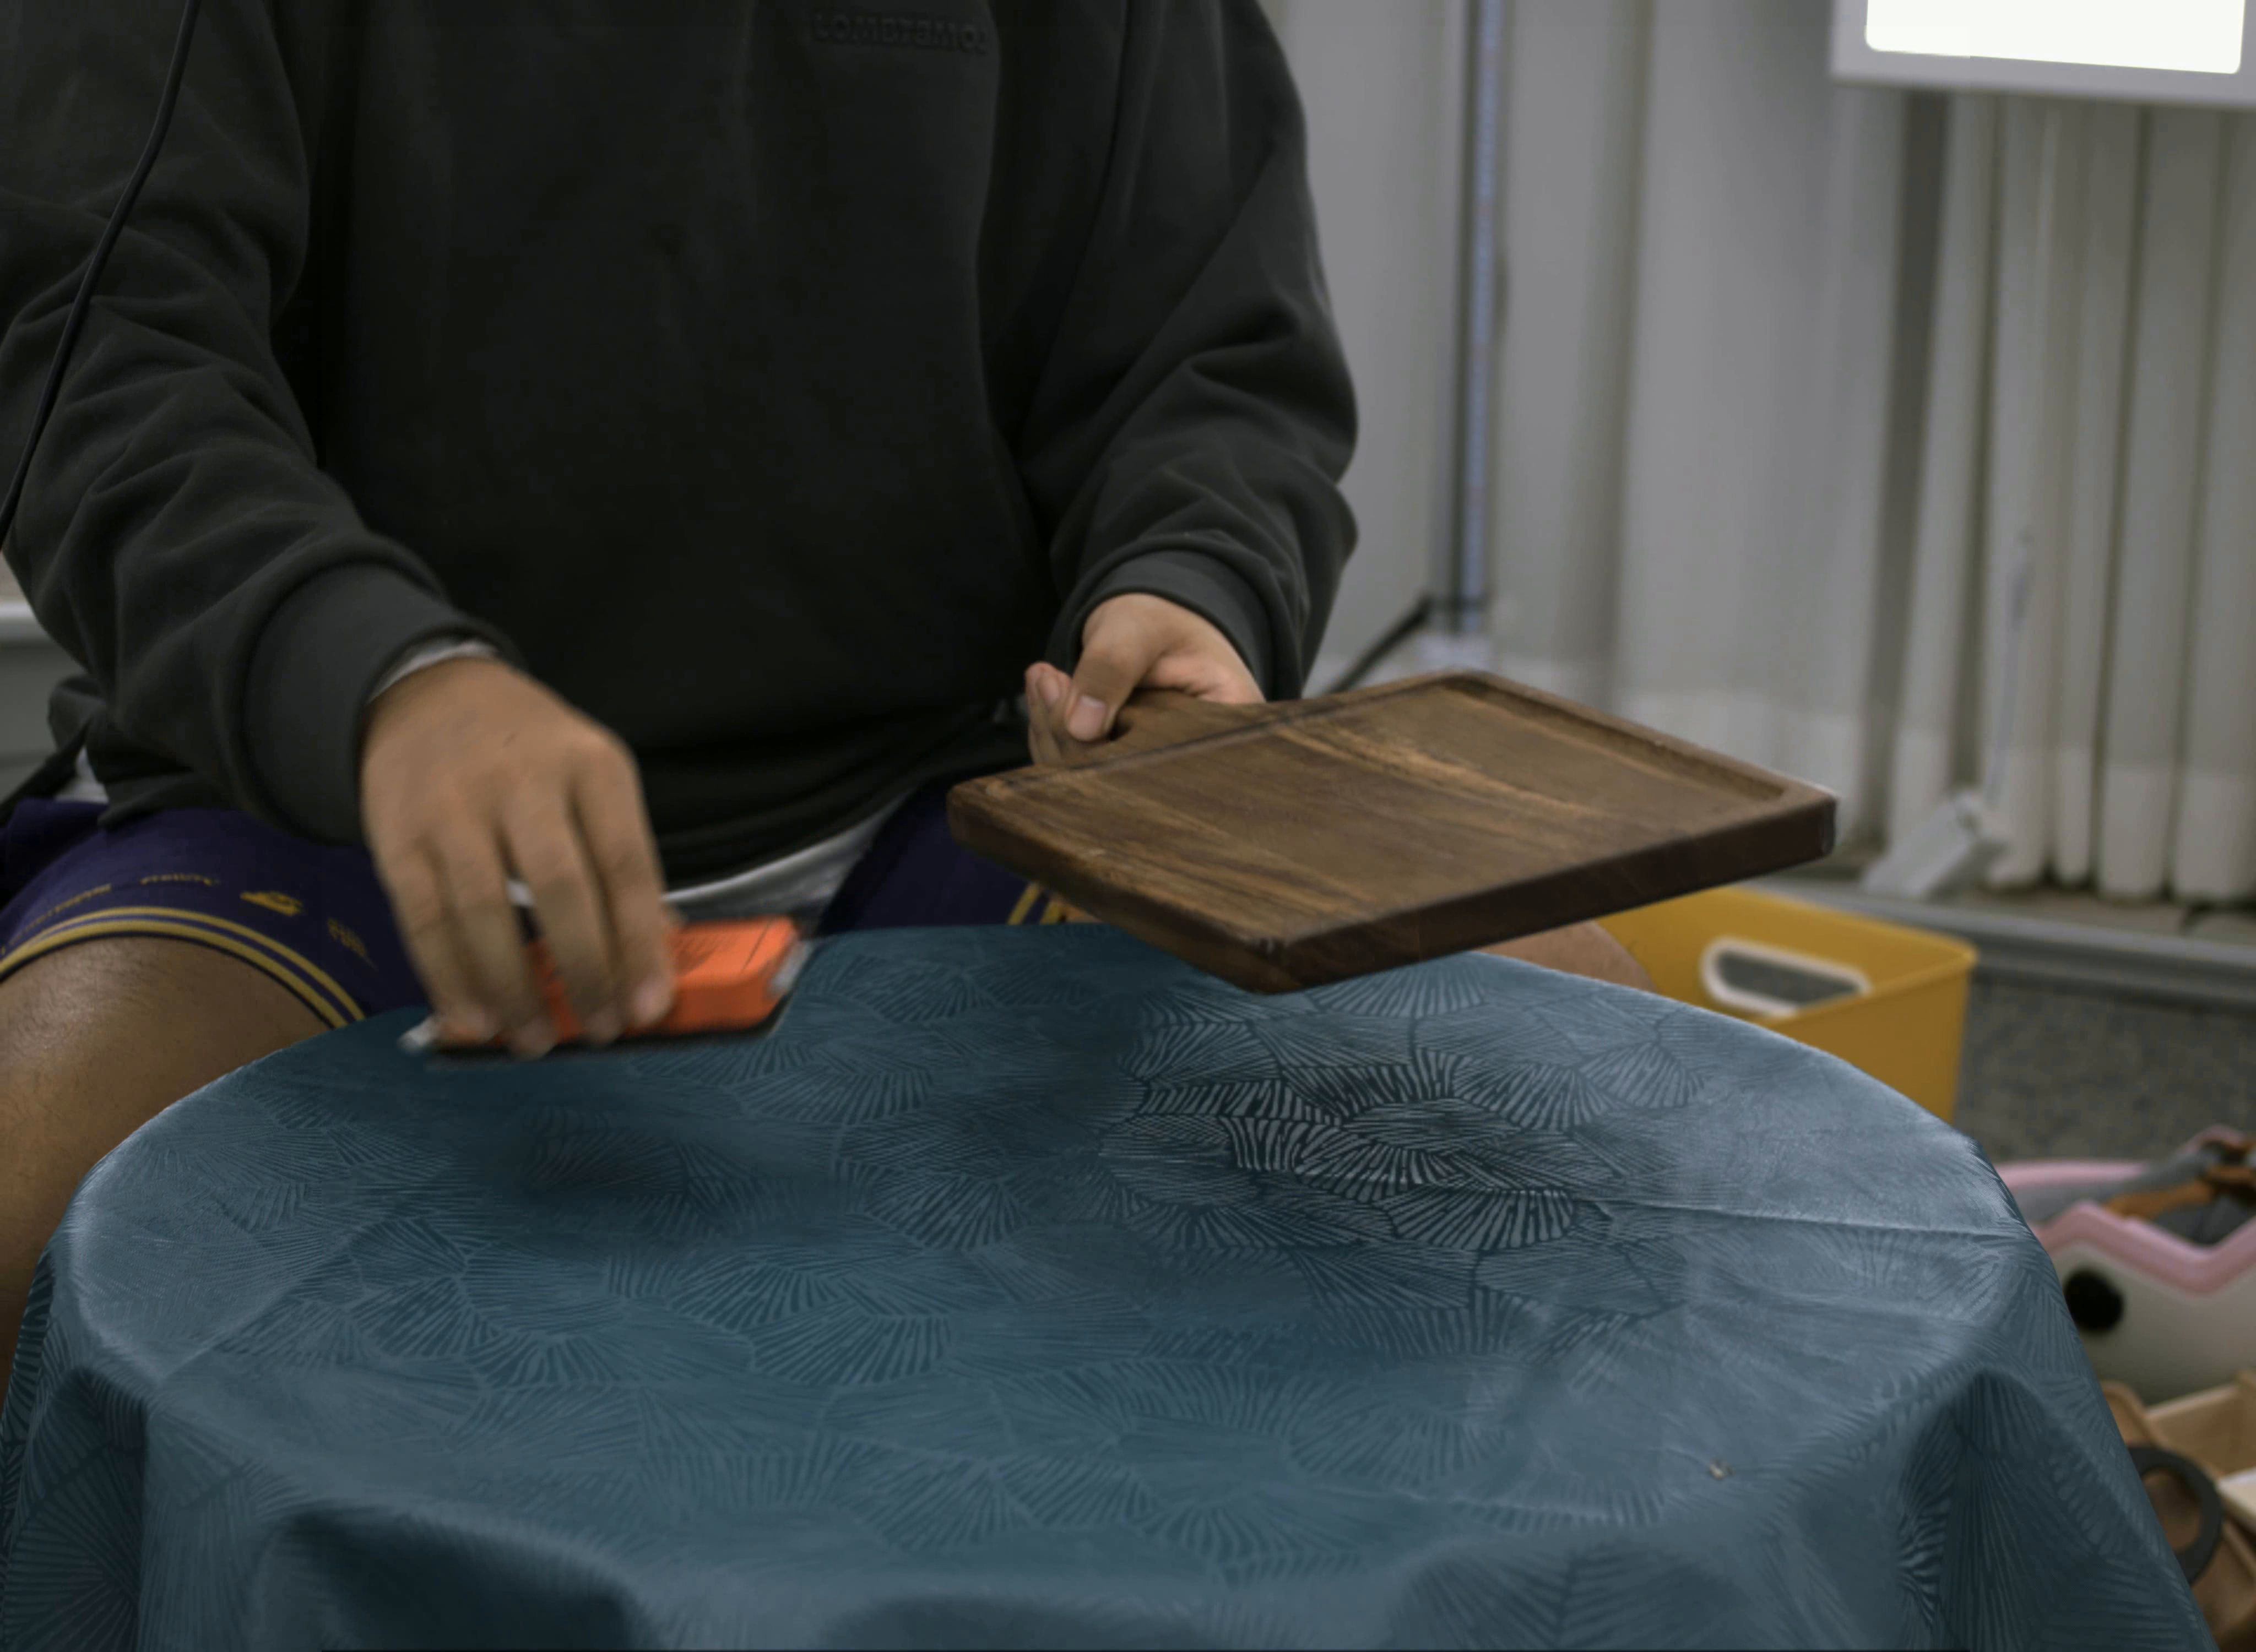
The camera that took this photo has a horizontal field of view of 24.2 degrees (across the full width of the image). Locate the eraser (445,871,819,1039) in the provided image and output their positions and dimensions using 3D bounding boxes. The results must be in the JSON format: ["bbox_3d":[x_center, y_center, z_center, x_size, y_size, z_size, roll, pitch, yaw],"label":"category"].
[{"bbox_3d":[-0.151,0.039,1.611,0.107,0.023,0.058,-7,19,8],"label":"eraser"}]

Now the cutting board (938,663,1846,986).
[{"bbox_3d":[0.056,-0.013,1.678,0.201,0.023,0.348,-14,15,-22],"label":"cutting board"}]
